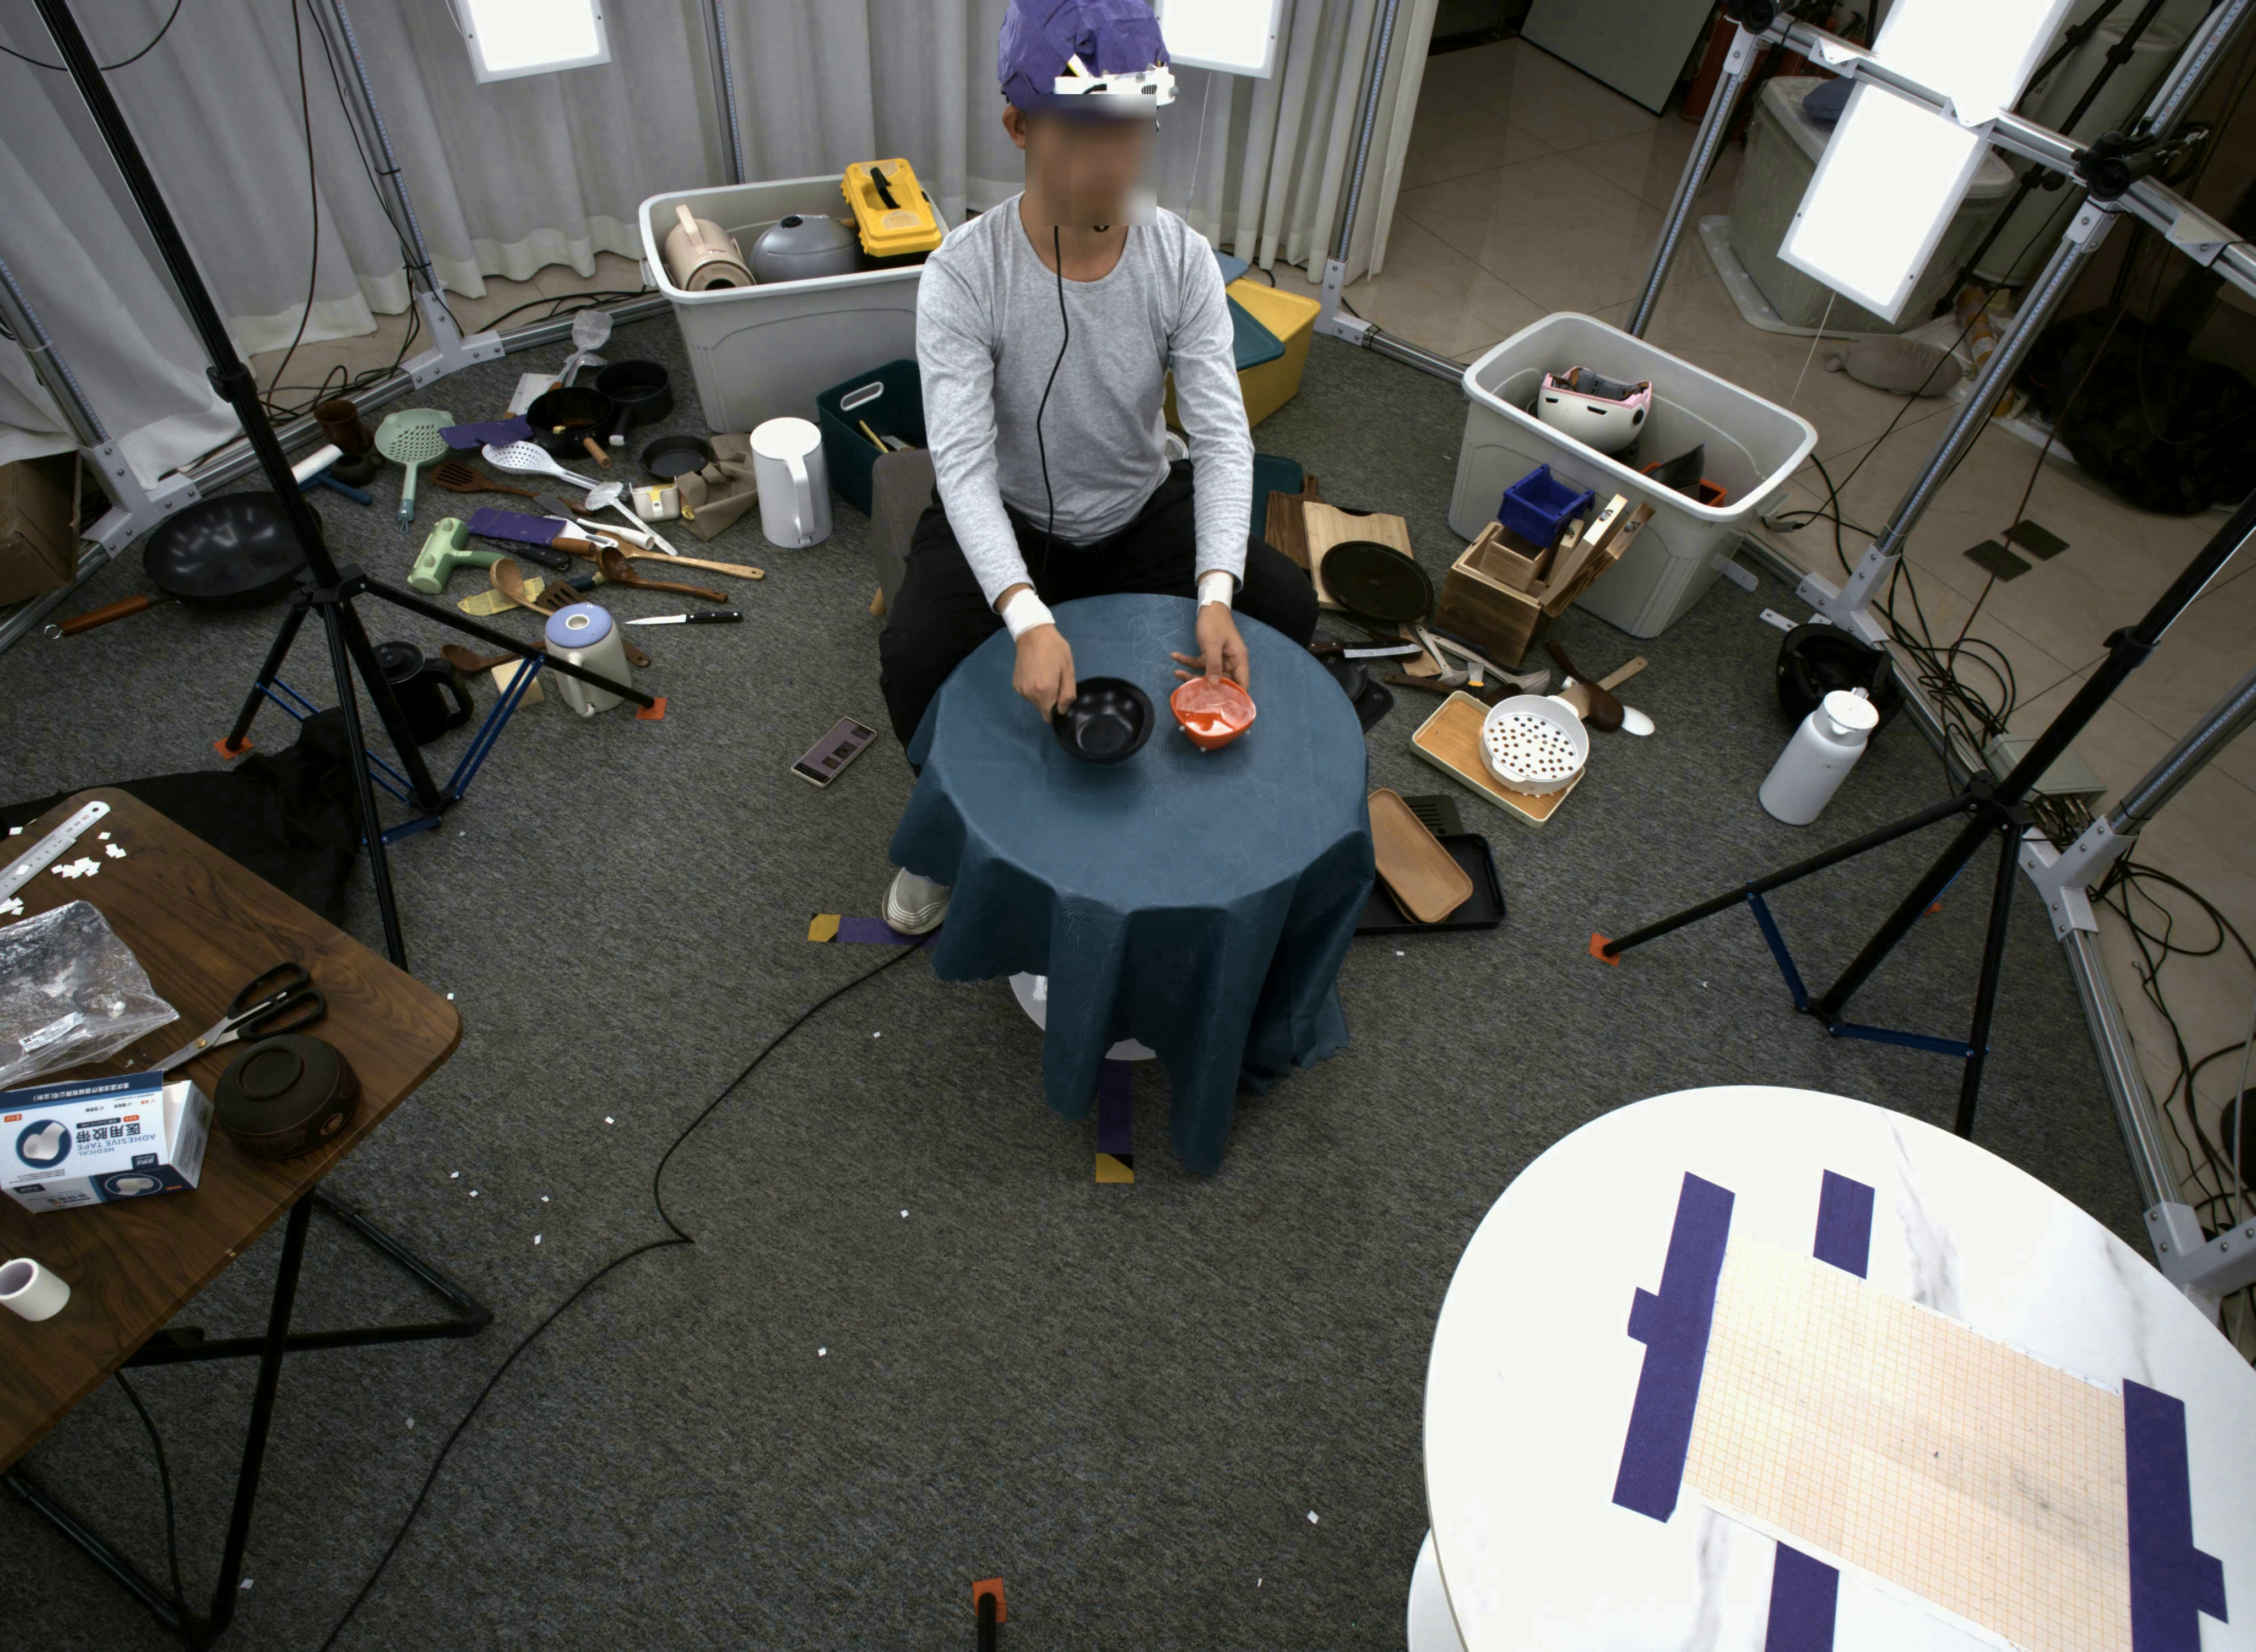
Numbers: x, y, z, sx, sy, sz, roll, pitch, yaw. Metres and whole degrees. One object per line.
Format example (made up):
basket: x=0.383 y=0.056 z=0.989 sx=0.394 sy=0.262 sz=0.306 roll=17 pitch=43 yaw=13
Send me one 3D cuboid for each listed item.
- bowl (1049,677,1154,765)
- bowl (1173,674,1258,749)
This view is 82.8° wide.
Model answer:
bowl: x=-0.034 y=-0.132 z=1.711 sx=0.140 sy=0.048 sz=0.143 roll=-2 pitch=52 yaw=2
bowl: x=0.118 y=-0.151 z=1.770 sx=0.119 sy=0.050 sz=0.122 roll=2 pitch=53 yaw=-3
